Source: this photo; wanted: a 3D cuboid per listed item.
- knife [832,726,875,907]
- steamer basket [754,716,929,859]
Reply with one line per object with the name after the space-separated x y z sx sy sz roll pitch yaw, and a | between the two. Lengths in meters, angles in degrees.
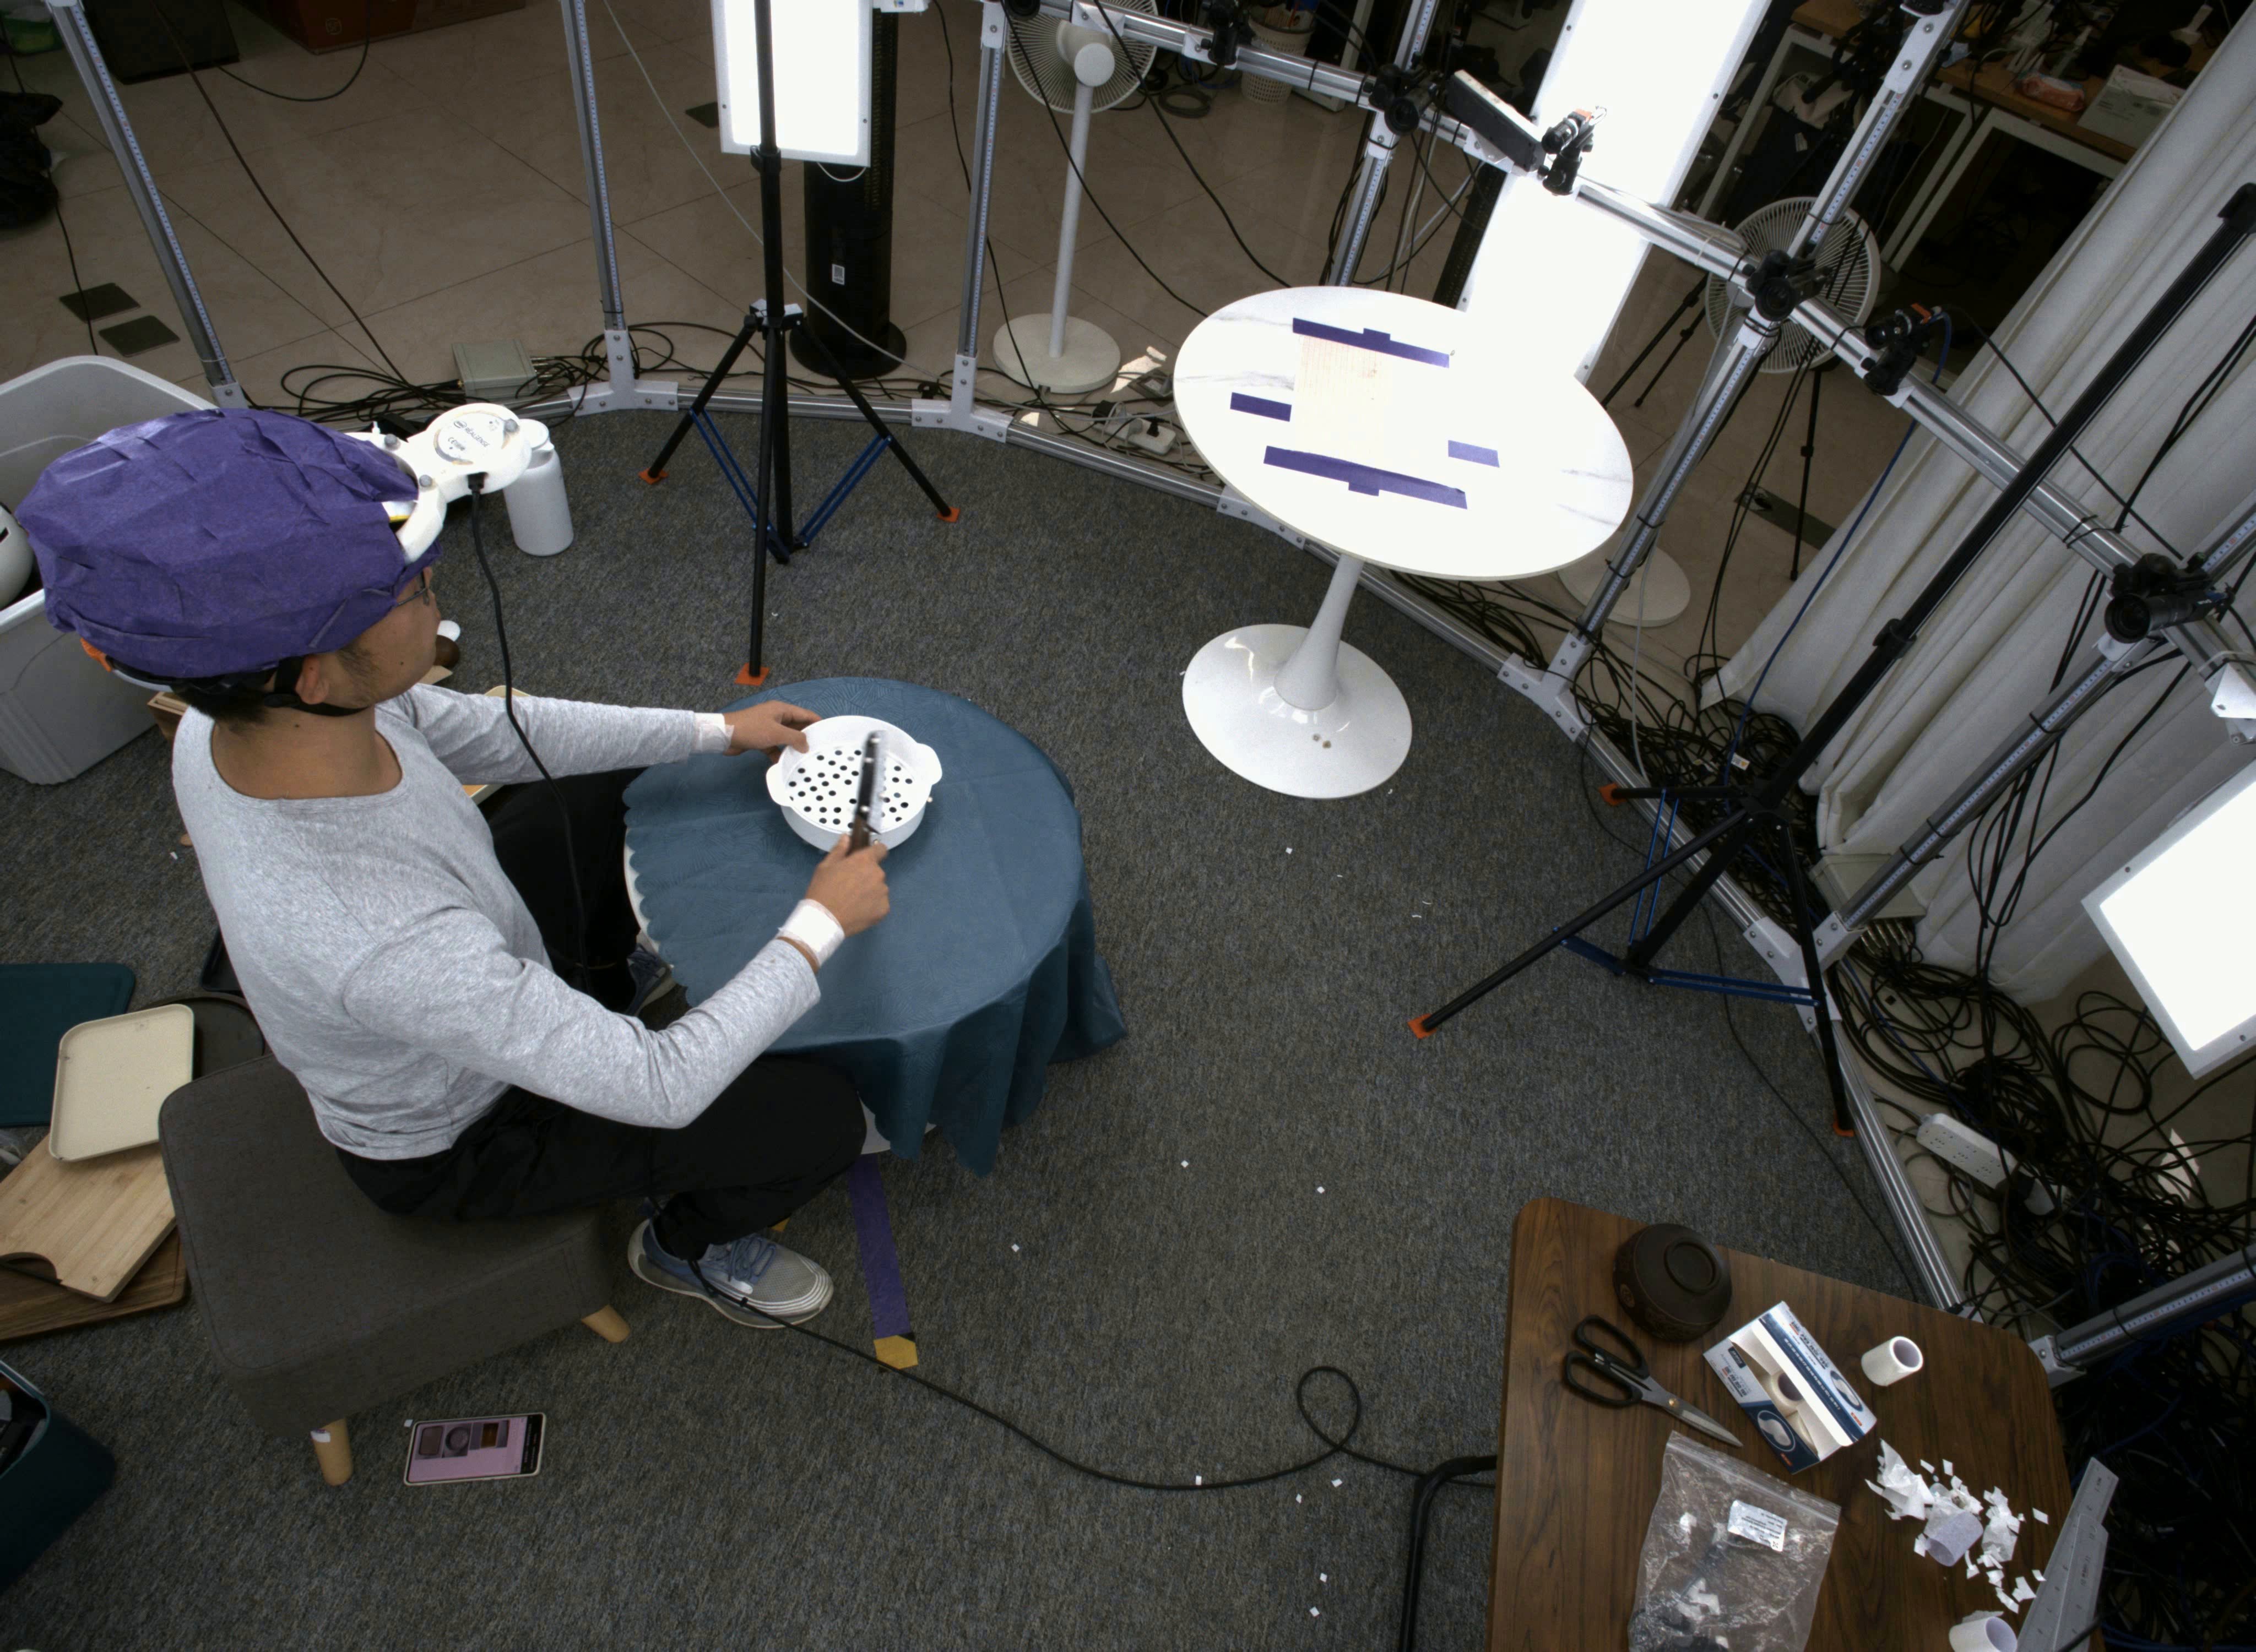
-0.331 -0.019 1.583 0.019 0.052 0.283 -23 46 25 | knife
-0.382 -0.051 1.737 0.232 0.070 0.197 -11 59 -24 | steamer basket
